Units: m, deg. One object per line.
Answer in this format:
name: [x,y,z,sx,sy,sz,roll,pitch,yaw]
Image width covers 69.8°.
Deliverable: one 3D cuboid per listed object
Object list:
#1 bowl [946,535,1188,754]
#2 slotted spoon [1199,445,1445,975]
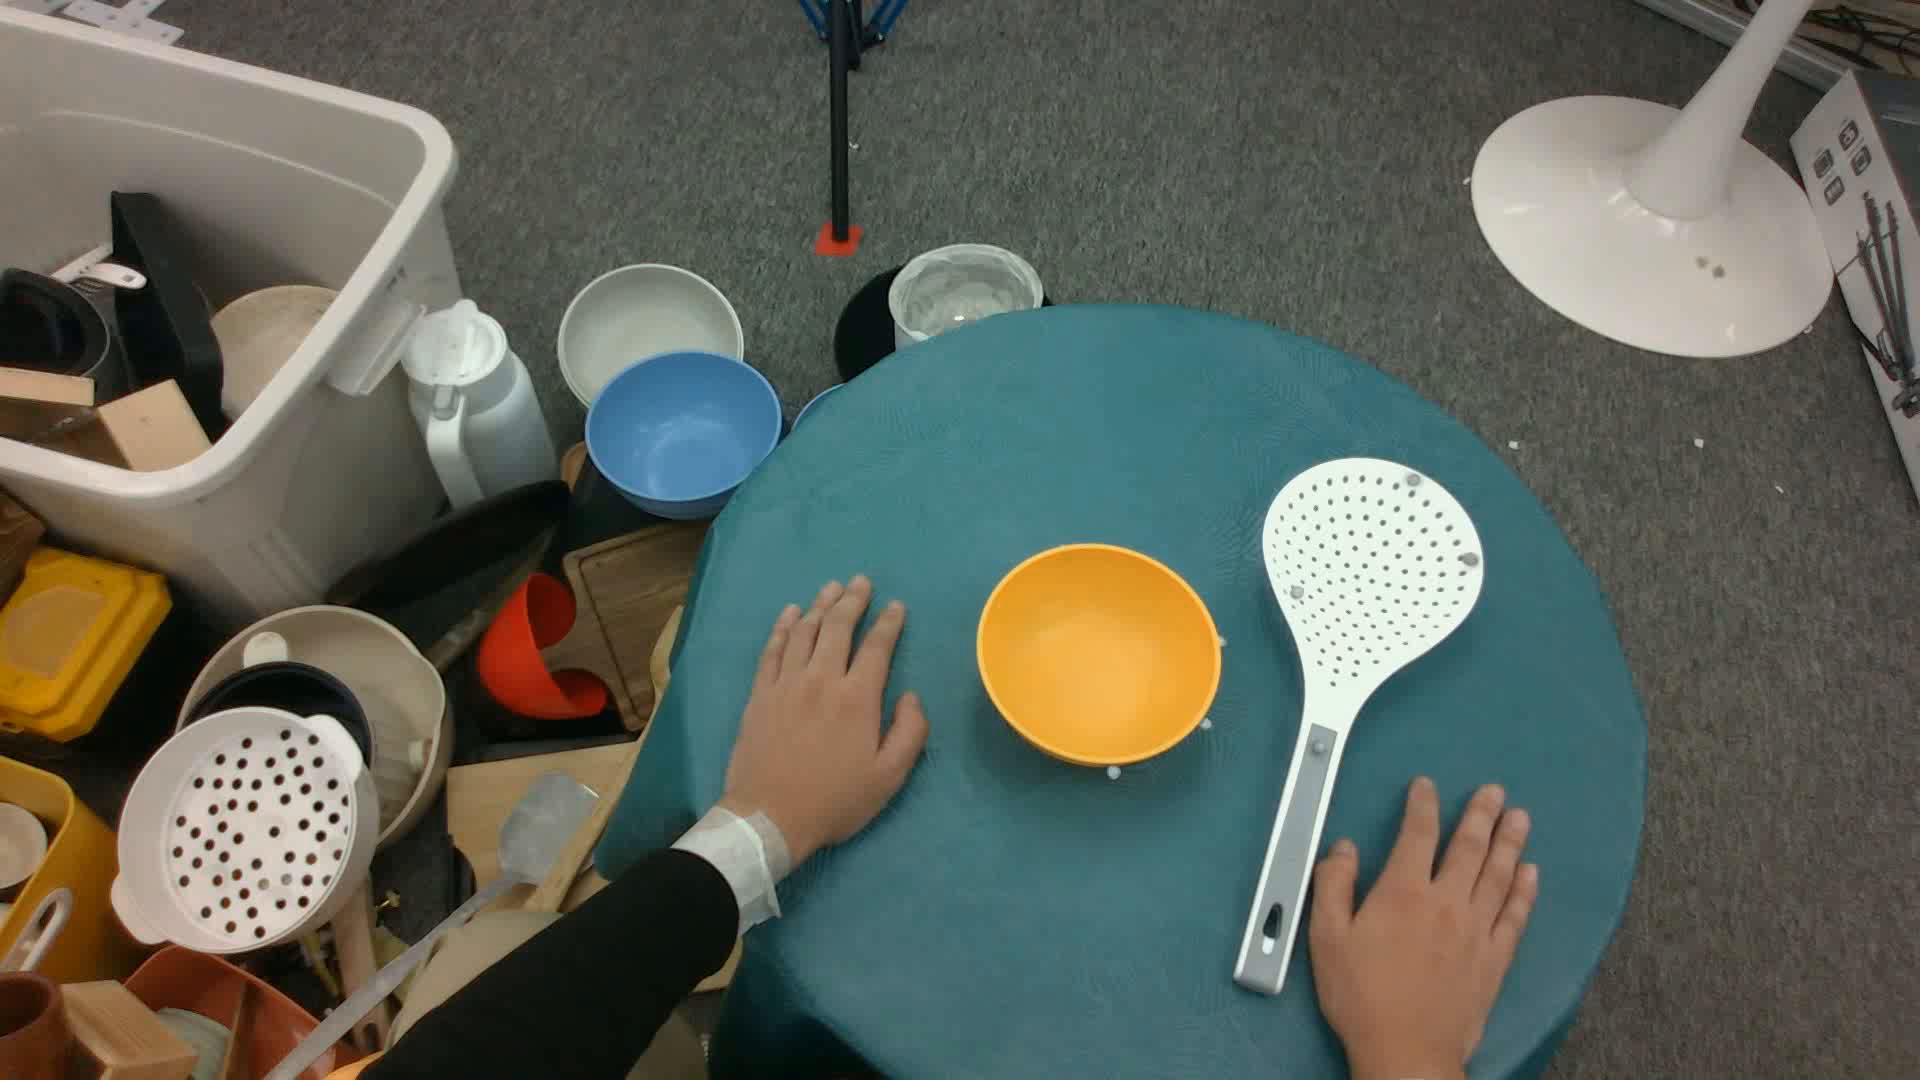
bowl: [0.061,0.072,0.830,0.145,0.060,0.146,2,56,-4]
slotted spoon: [0.205,0.092,0.837,0.136,0.045,0.351,19,59,7]
